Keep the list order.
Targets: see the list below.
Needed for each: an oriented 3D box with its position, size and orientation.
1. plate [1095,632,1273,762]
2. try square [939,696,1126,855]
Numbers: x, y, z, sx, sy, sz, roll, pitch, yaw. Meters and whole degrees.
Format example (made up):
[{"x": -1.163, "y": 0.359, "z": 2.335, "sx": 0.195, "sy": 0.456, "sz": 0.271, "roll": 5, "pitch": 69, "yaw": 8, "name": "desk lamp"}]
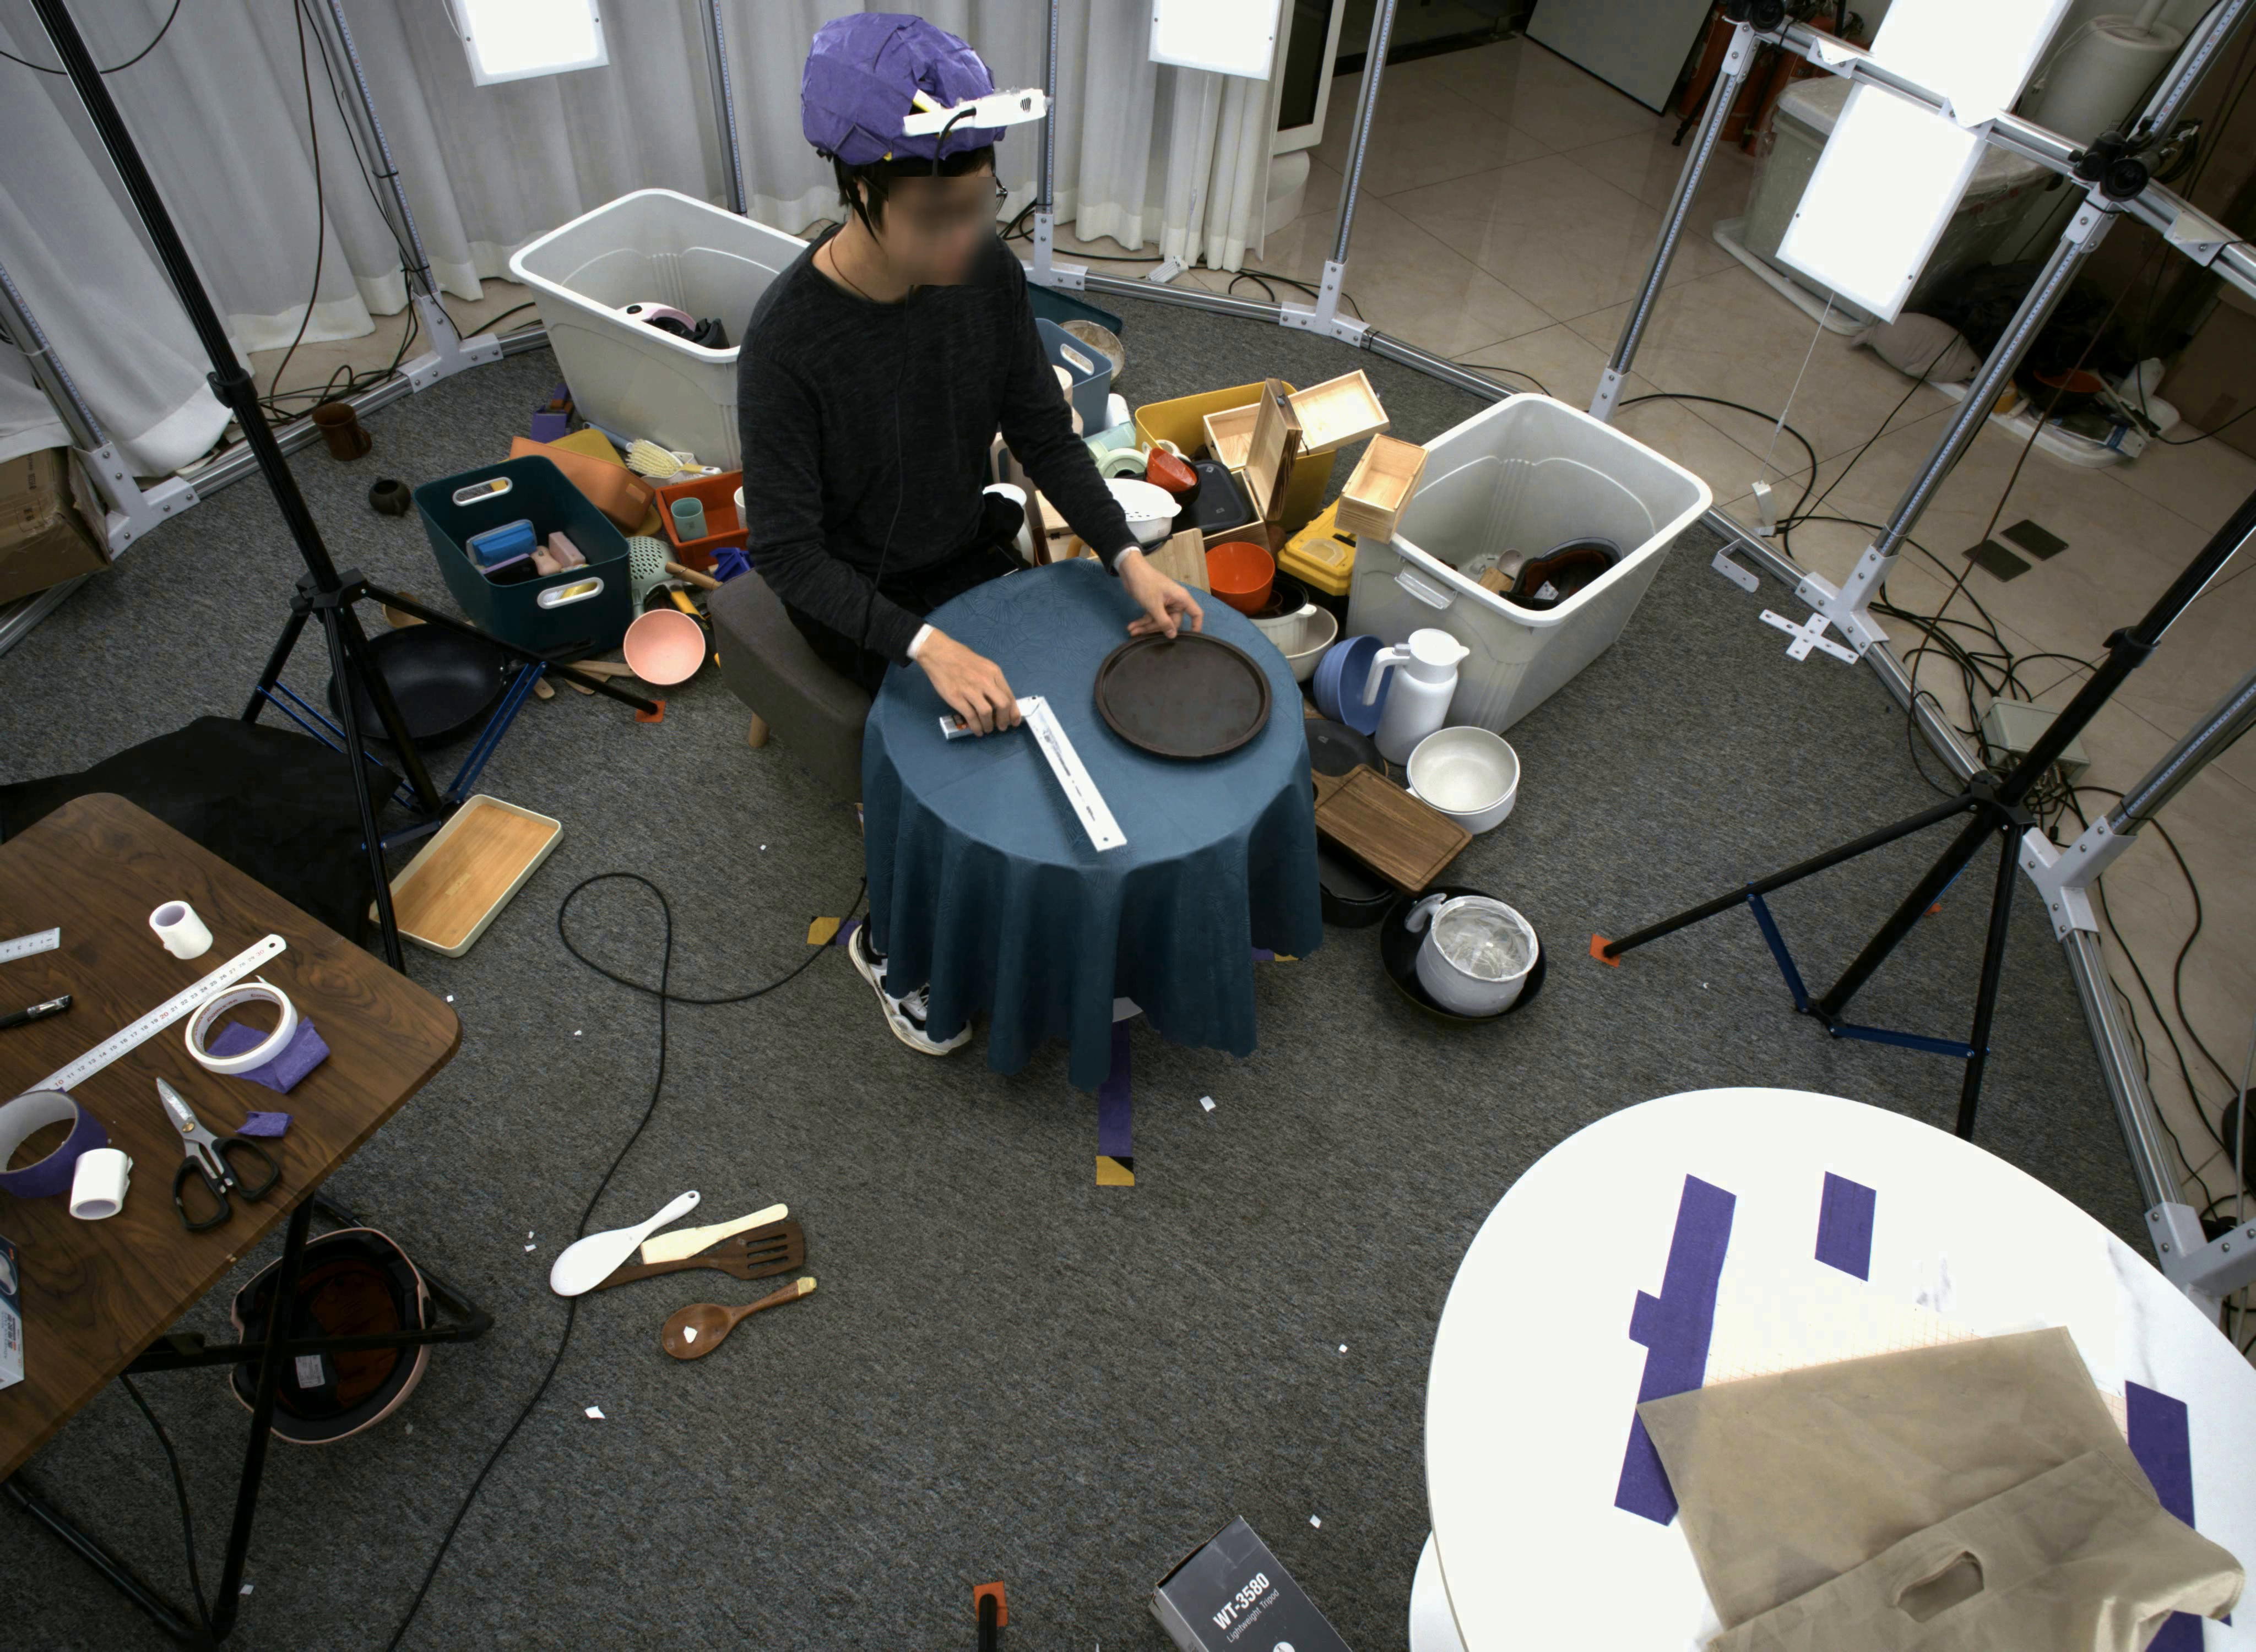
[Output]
[{"x": 0.079, "y": -0.185, "z": 1.821, "sx": 0.254, "sy": 0.028, "sz": 0.261, "roll": 2, "pitch": 50, "yaw": -3, "name": "plate"}, {"x": -0.130, "y": -0.059, "z": 1.676, "sx": 0.152, "sy": 0.015, "sz": 0.320, "roll": -15, "pitch": 47, "yaw": -15, "name": "try square"}]
